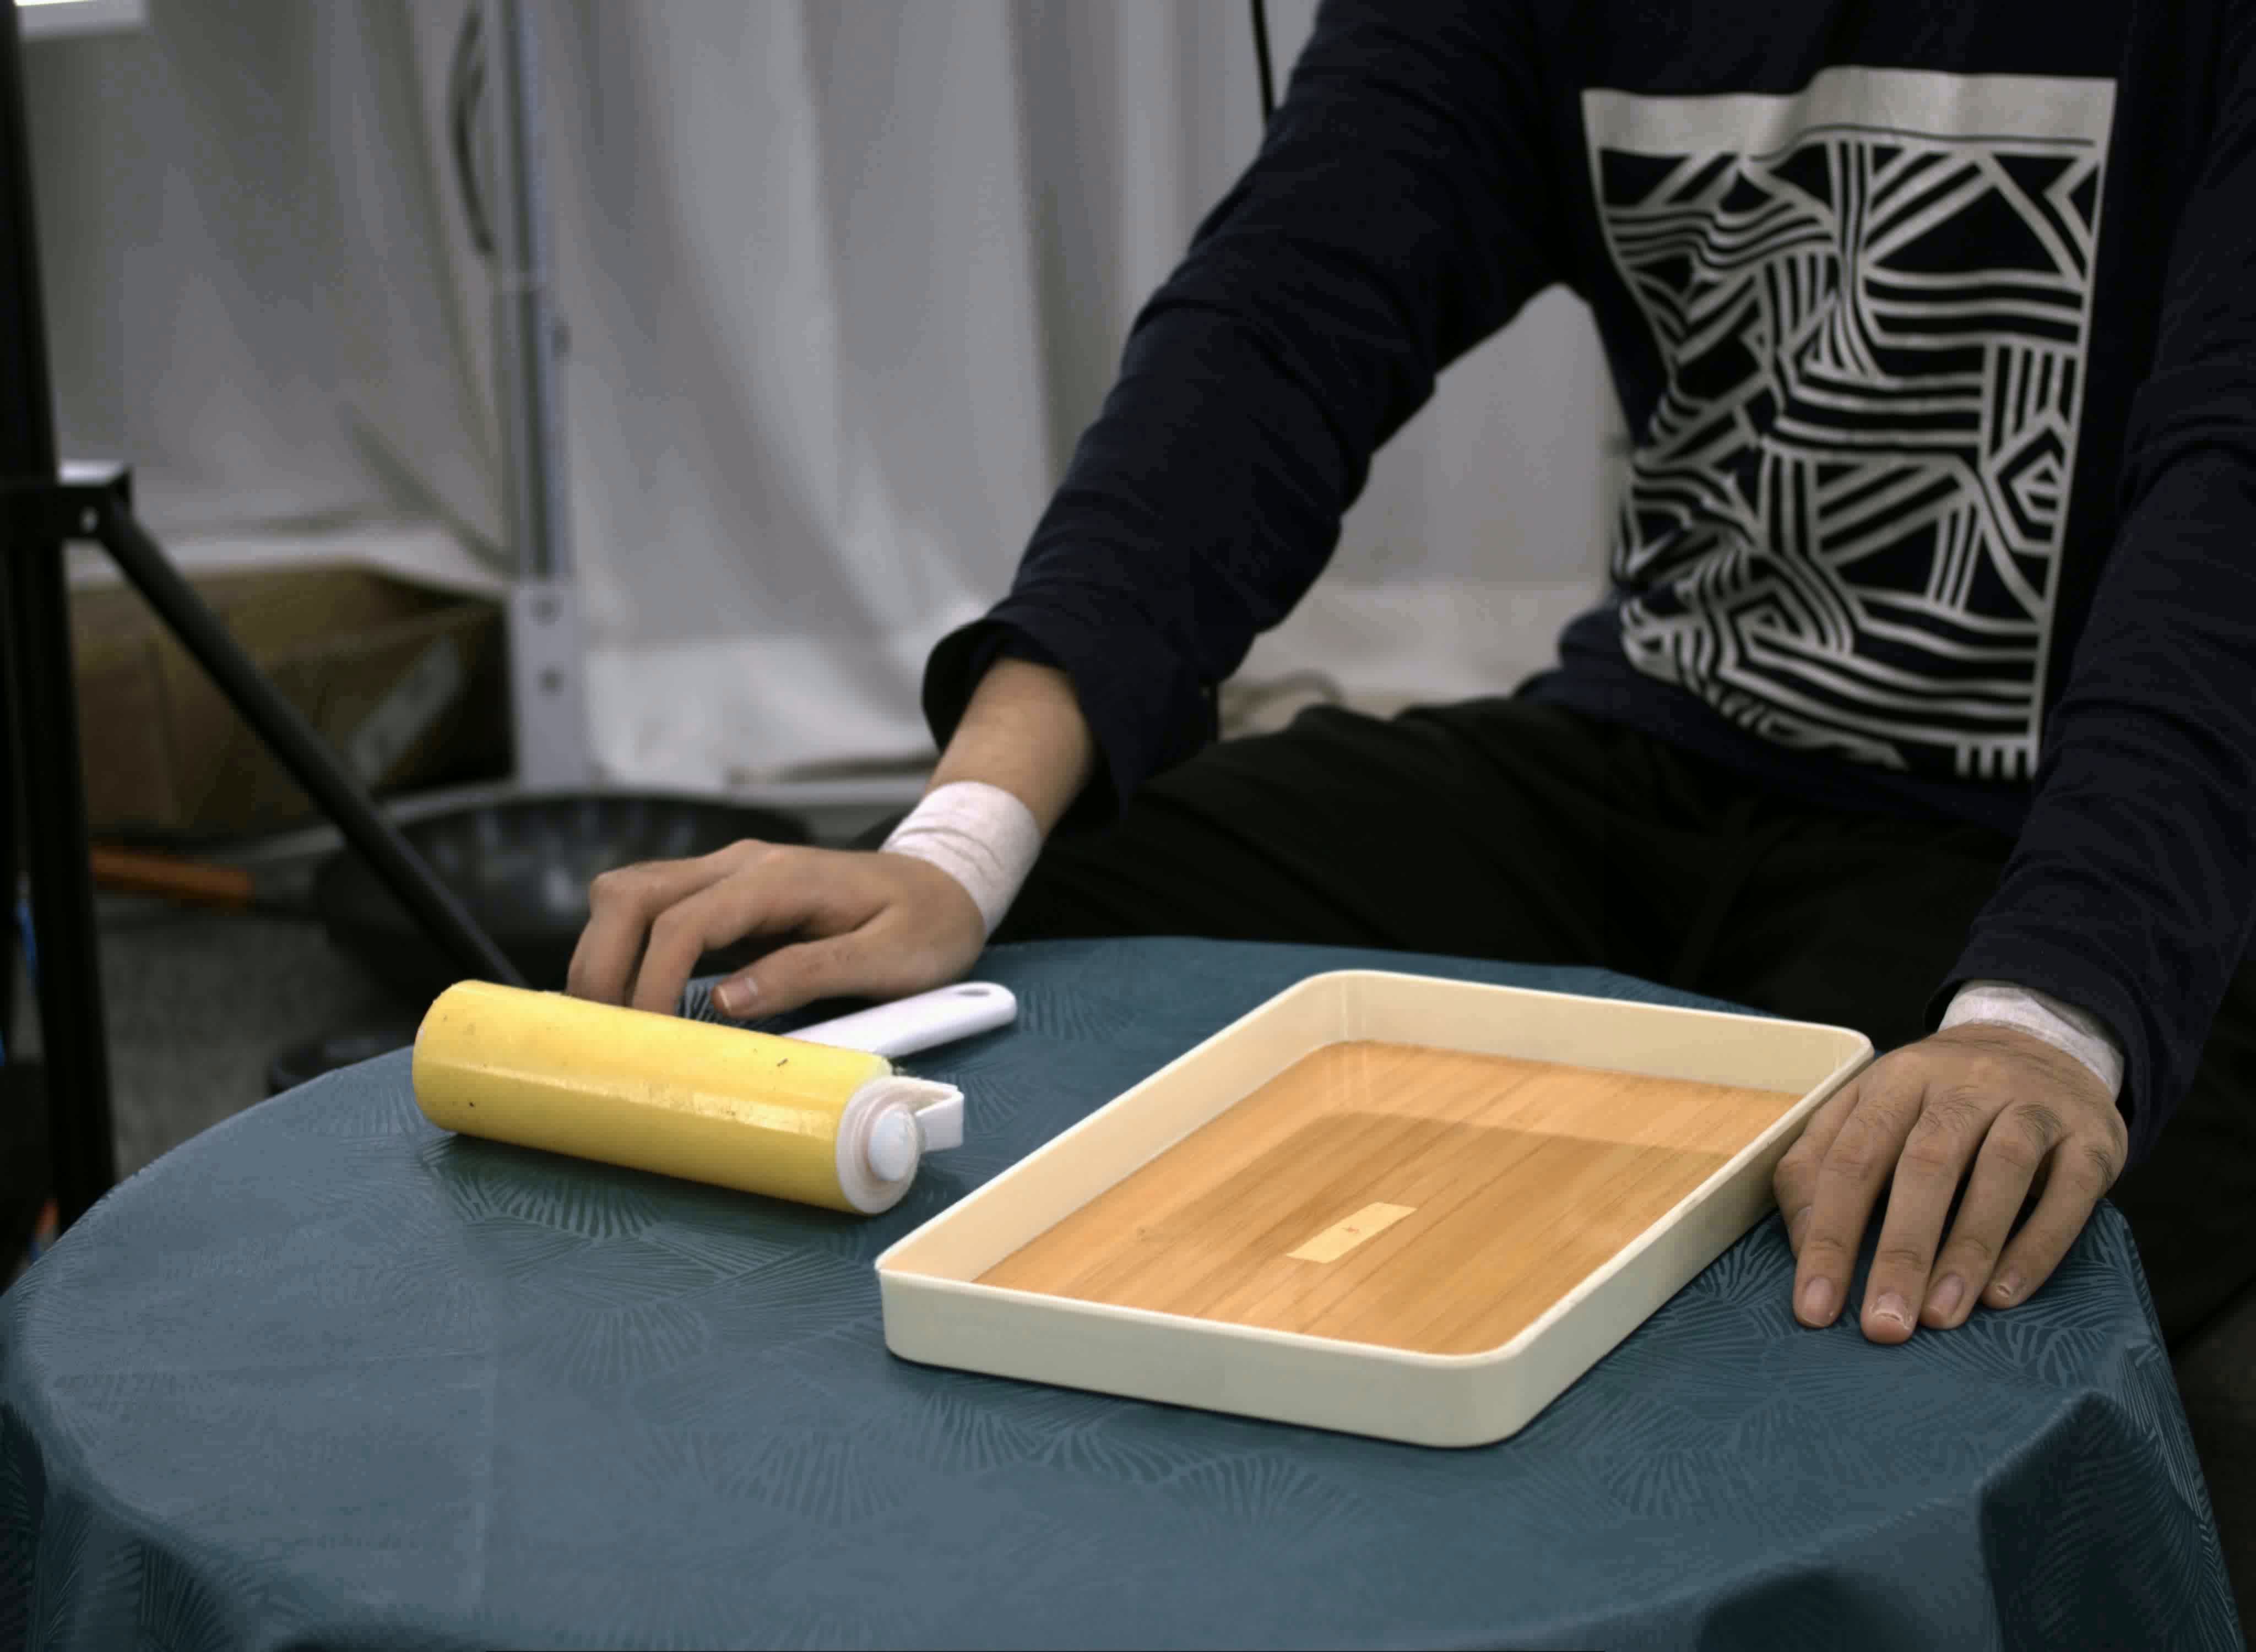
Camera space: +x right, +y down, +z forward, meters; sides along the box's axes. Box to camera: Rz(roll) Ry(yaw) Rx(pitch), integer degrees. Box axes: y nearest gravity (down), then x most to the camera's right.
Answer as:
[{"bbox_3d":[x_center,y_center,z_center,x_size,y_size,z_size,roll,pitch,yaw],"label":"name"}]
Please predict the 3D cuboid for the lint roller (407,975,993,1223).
[{"bbox_3d":[-0.101,0.062,1.651,0.177,0.051,0.188,9,23,32],"label":"lint roller"}]

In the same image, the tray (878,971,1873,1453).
[{"bbox_3d":[0.078,0.104,1.516,0.195,0.027,0.295,7,18,28],"label":"tray"}]
